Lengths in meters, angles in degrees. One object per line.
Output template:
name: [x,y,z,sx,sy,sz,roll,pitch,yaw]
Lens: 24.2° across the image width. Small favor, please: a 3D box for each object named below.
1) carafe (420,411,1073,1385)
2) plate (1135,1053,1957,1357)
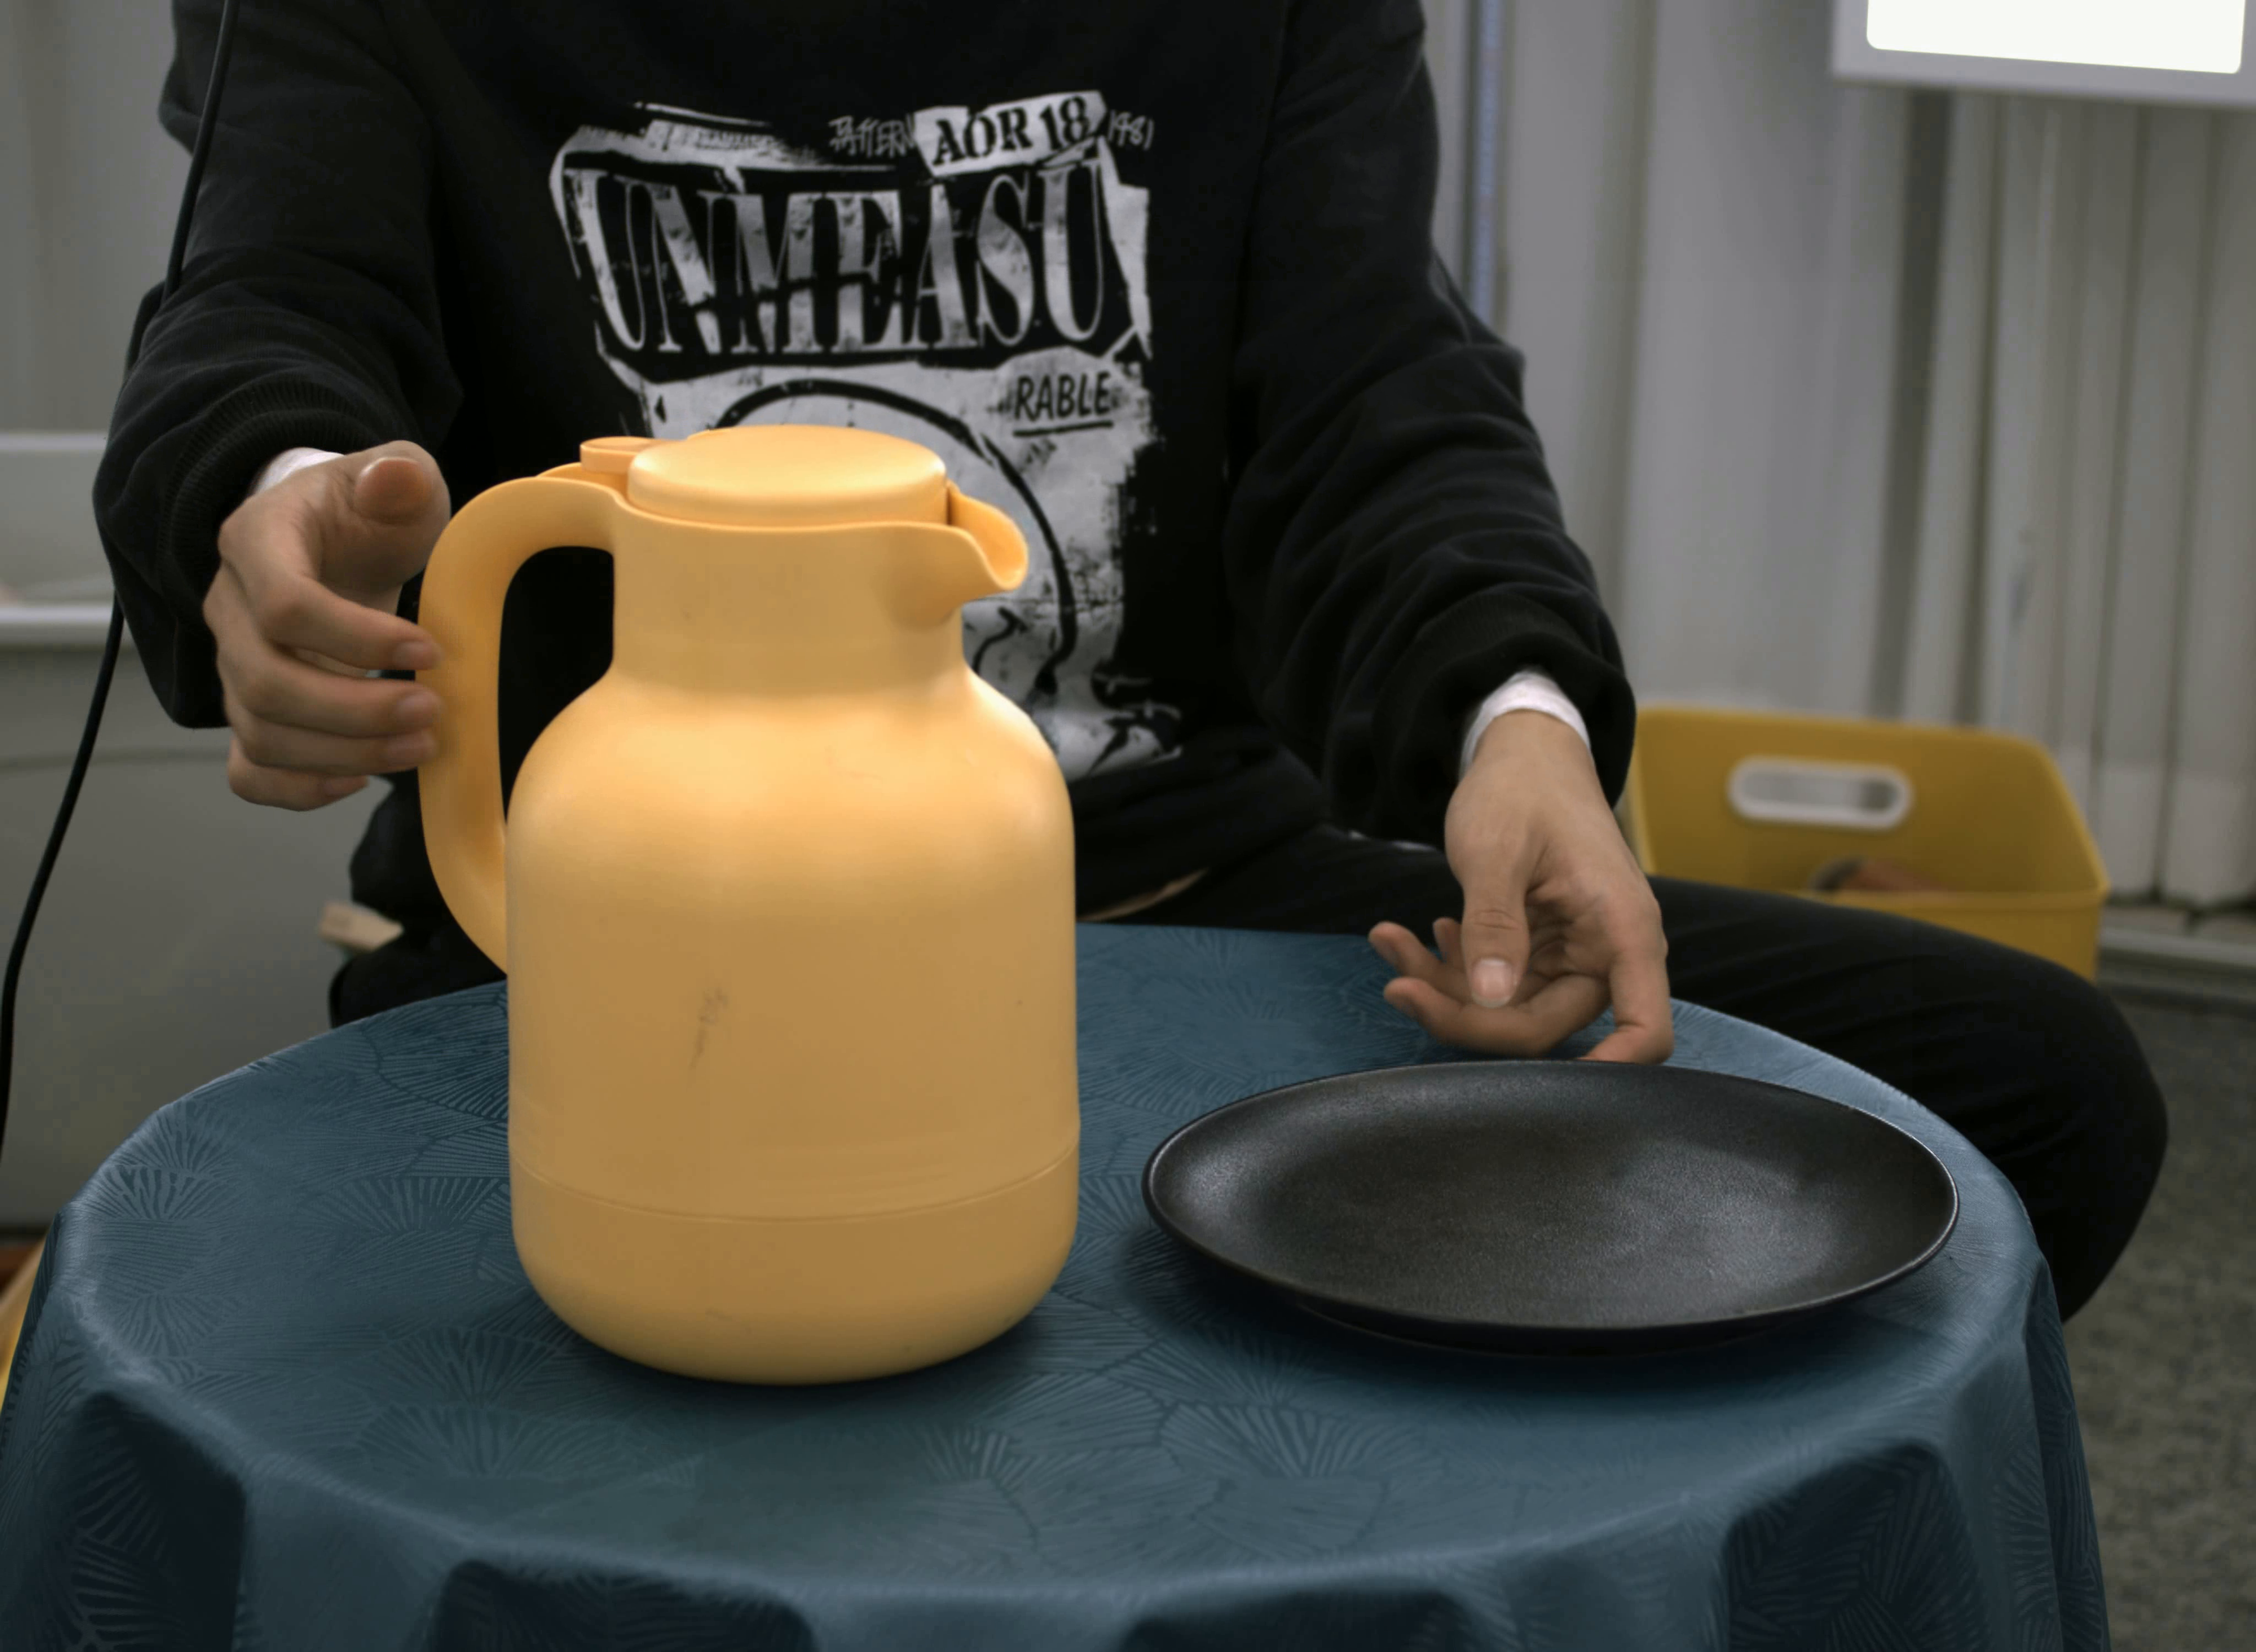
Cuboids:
carafe: [-0.111,0.013,1.487,0.200,0.262,0.164,12,17,29]
plate: [0.124,0.115,1.570,0.243,0.023,0.243,1,16,0]
